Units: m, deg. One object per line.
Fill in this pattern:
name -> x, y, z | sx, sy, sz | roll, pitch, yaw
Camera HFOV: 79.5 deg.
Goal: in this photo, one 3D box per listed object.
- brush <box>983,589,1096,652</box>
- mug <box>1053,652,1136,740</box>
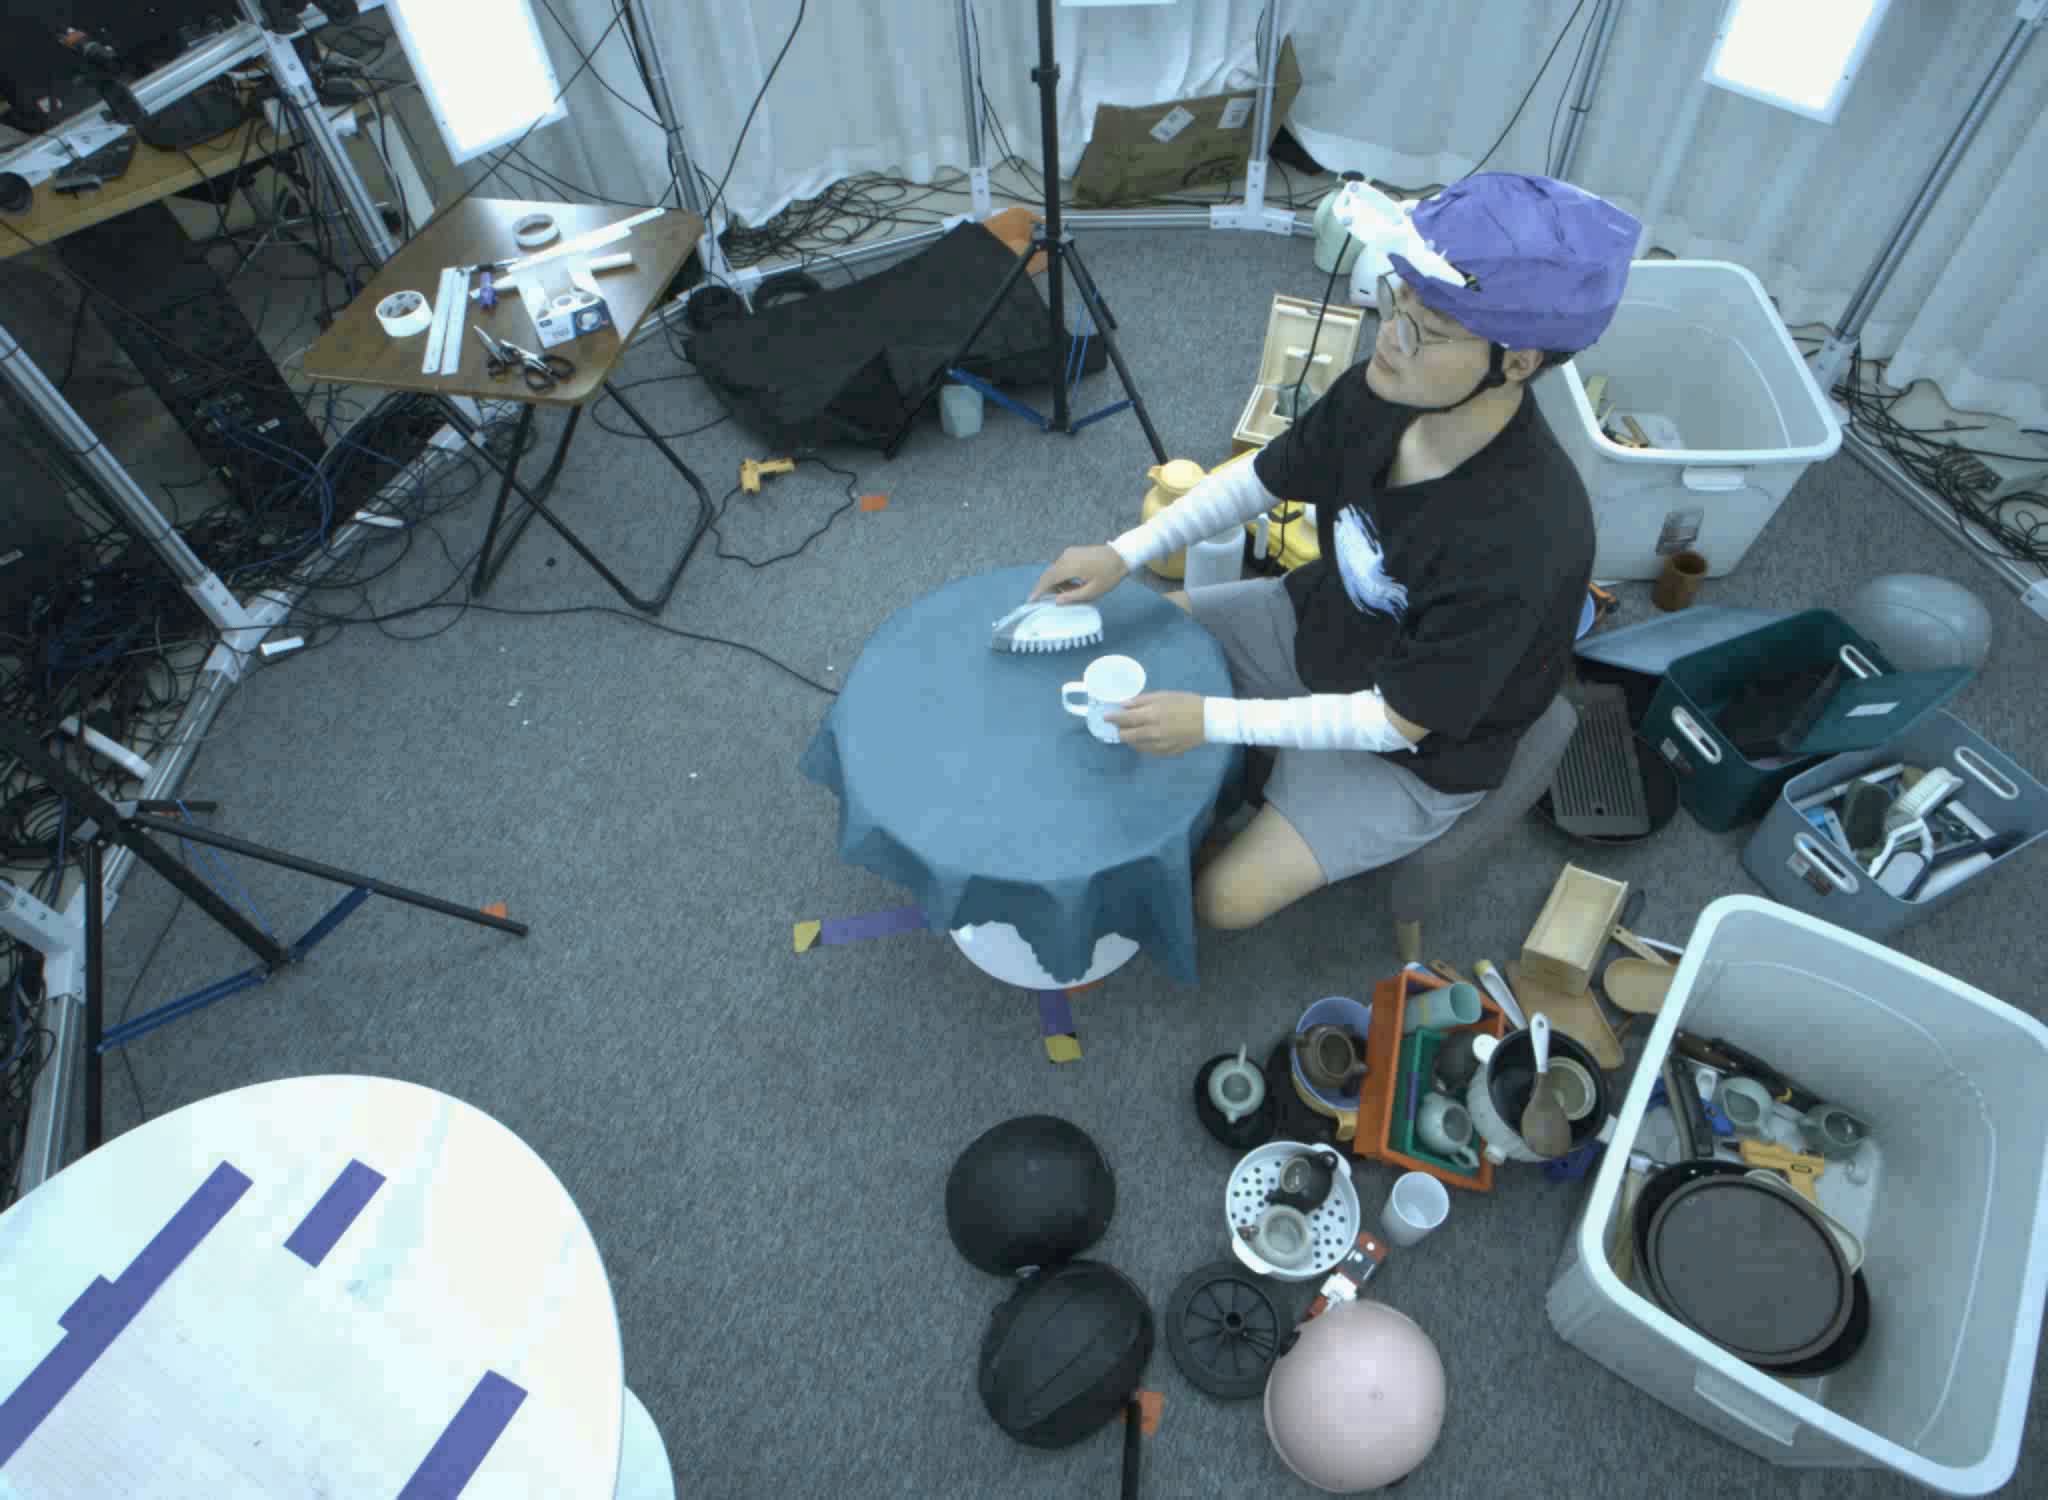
brush -> 0.020, -0.198, 1.864 | 0.176, 0.095, 0.060 | -10, 51, -3
mug -> 0.101, -0.075, 1.764 | 0.118, 0.103, 0.084 | -2, 54, 3
